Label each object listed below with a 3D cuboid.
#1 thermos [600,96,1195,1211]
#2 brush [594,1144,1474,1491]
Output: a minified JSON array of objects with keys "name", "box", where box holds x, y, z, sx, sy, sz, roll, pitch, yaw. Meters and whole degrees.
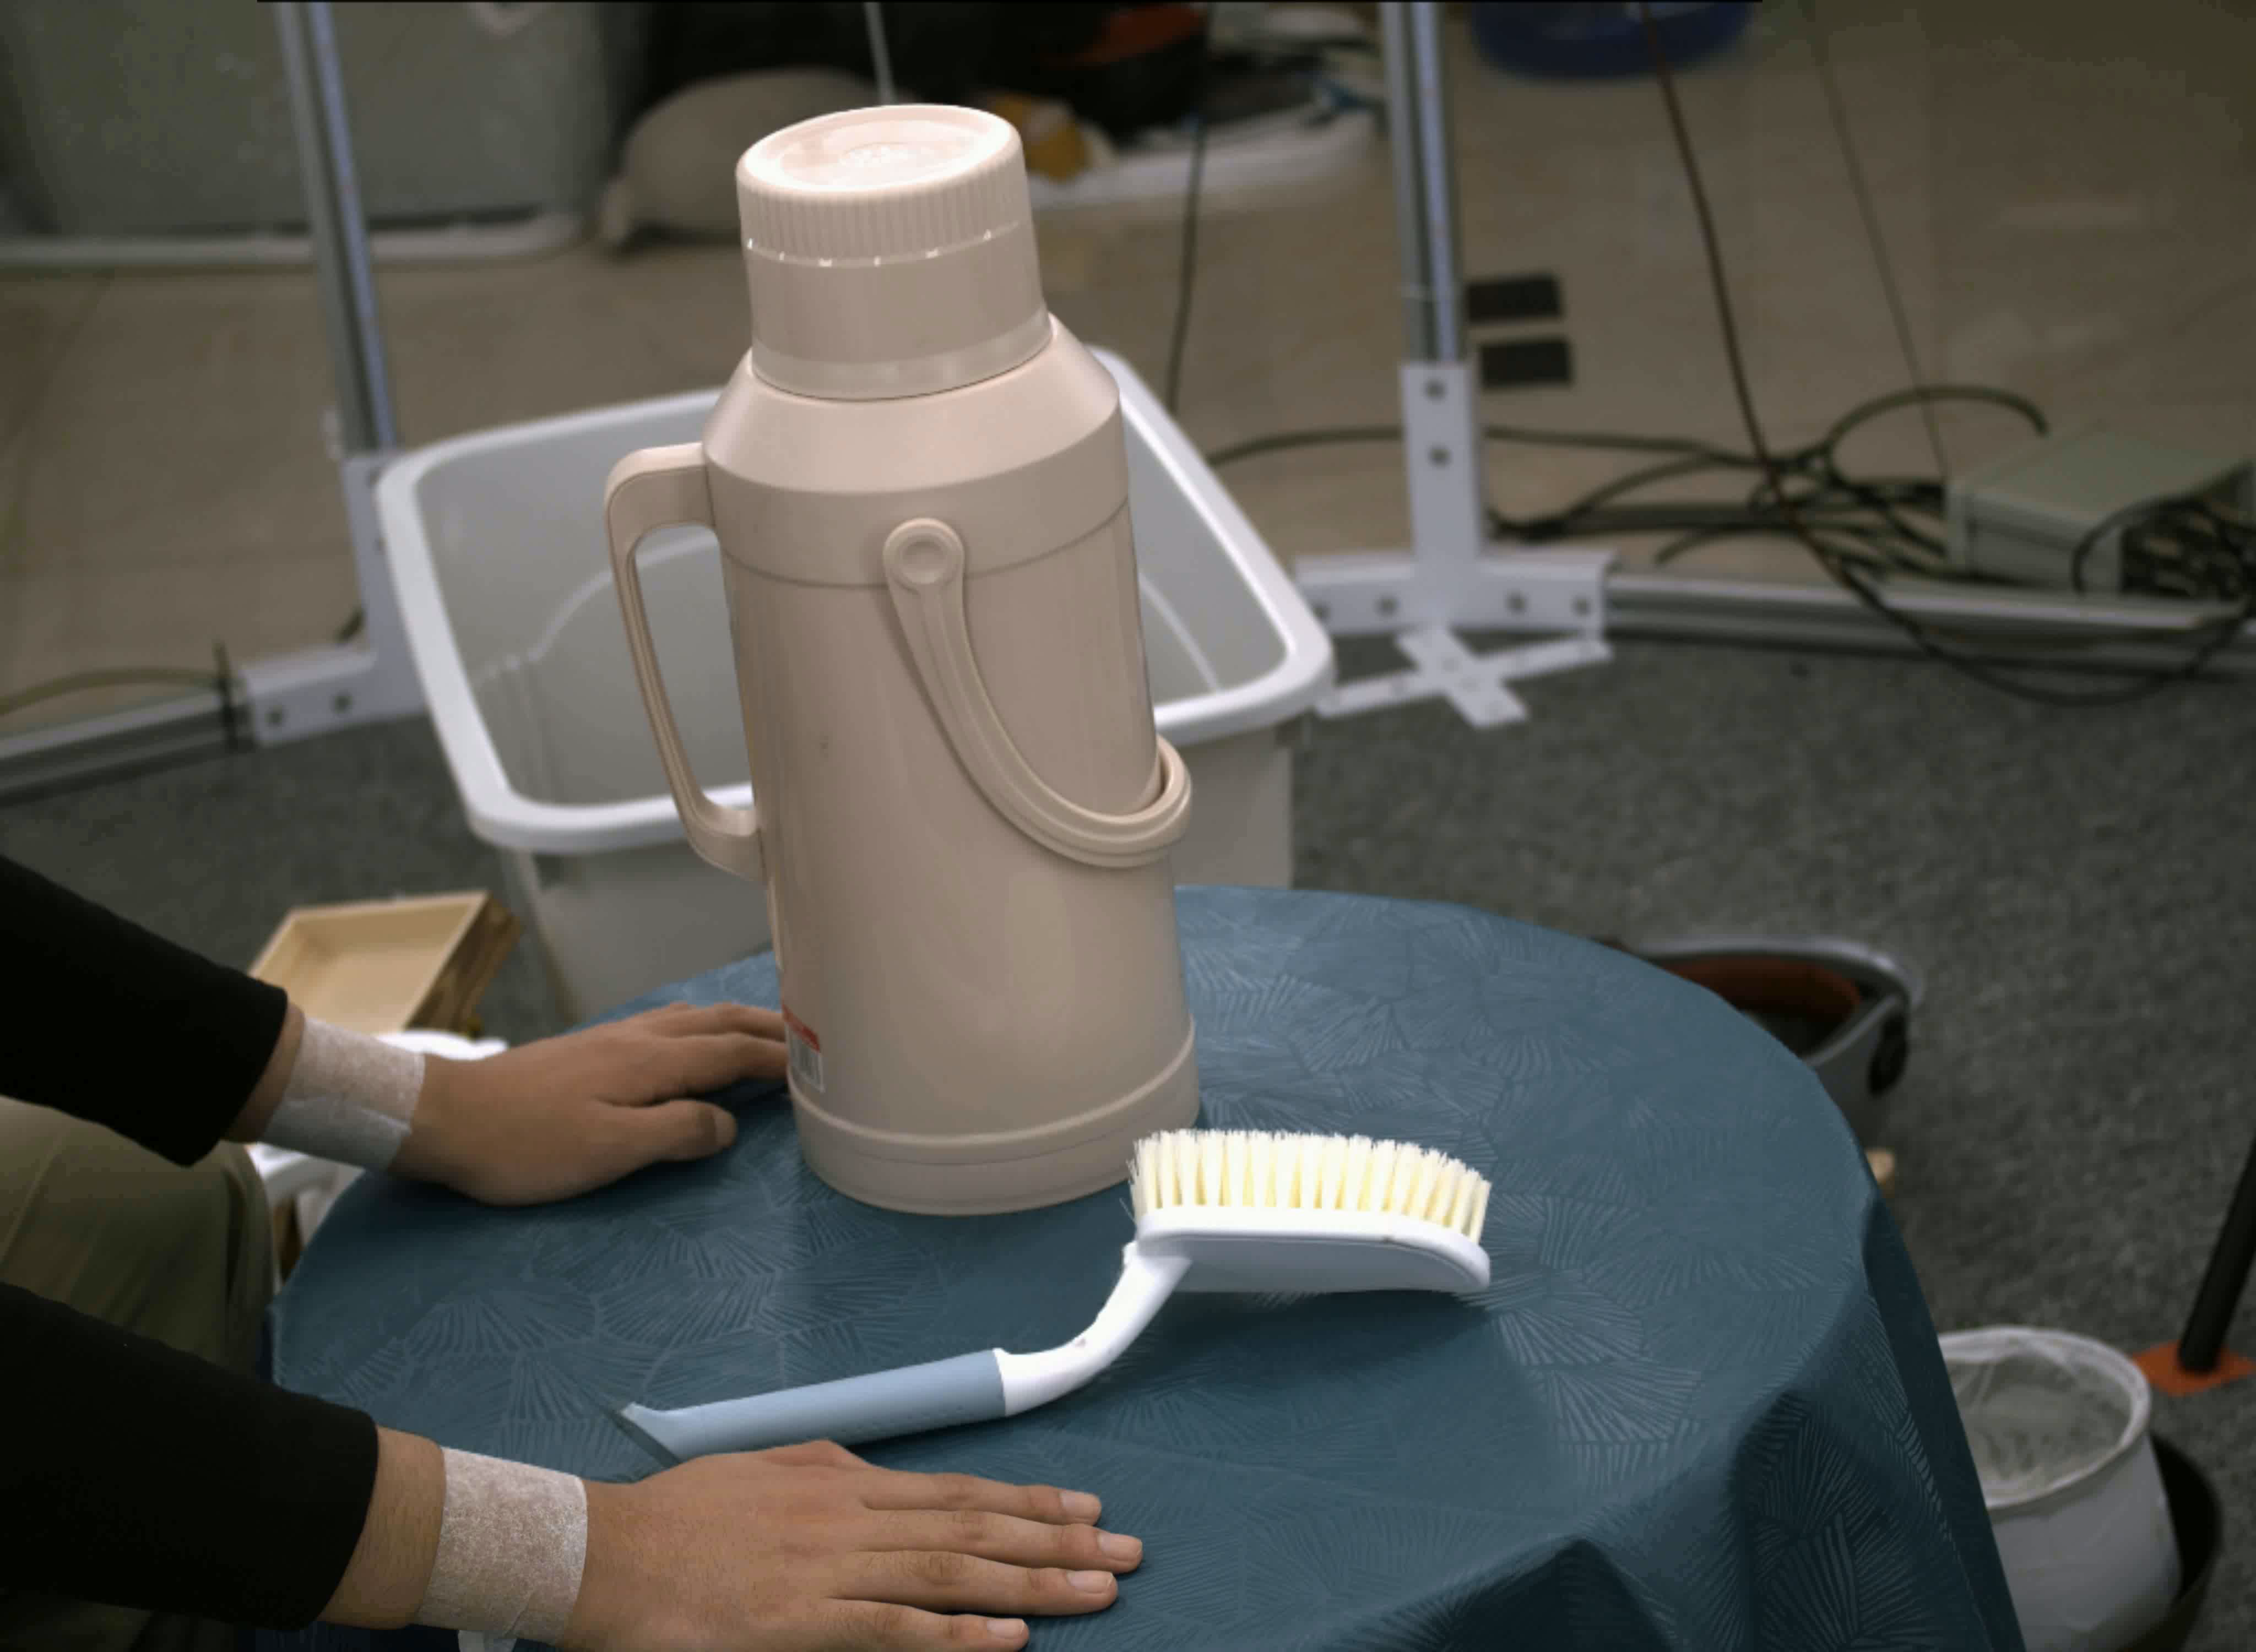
[{"name":"thermos","box":[-0.086,-0.064,2.127,0.206,0.413,0.172,-7,27,-1]},{"name":"brush","box":[-0.035,0.159,2.019,0.324,0.084,0.083,-10,30,-10]}]
